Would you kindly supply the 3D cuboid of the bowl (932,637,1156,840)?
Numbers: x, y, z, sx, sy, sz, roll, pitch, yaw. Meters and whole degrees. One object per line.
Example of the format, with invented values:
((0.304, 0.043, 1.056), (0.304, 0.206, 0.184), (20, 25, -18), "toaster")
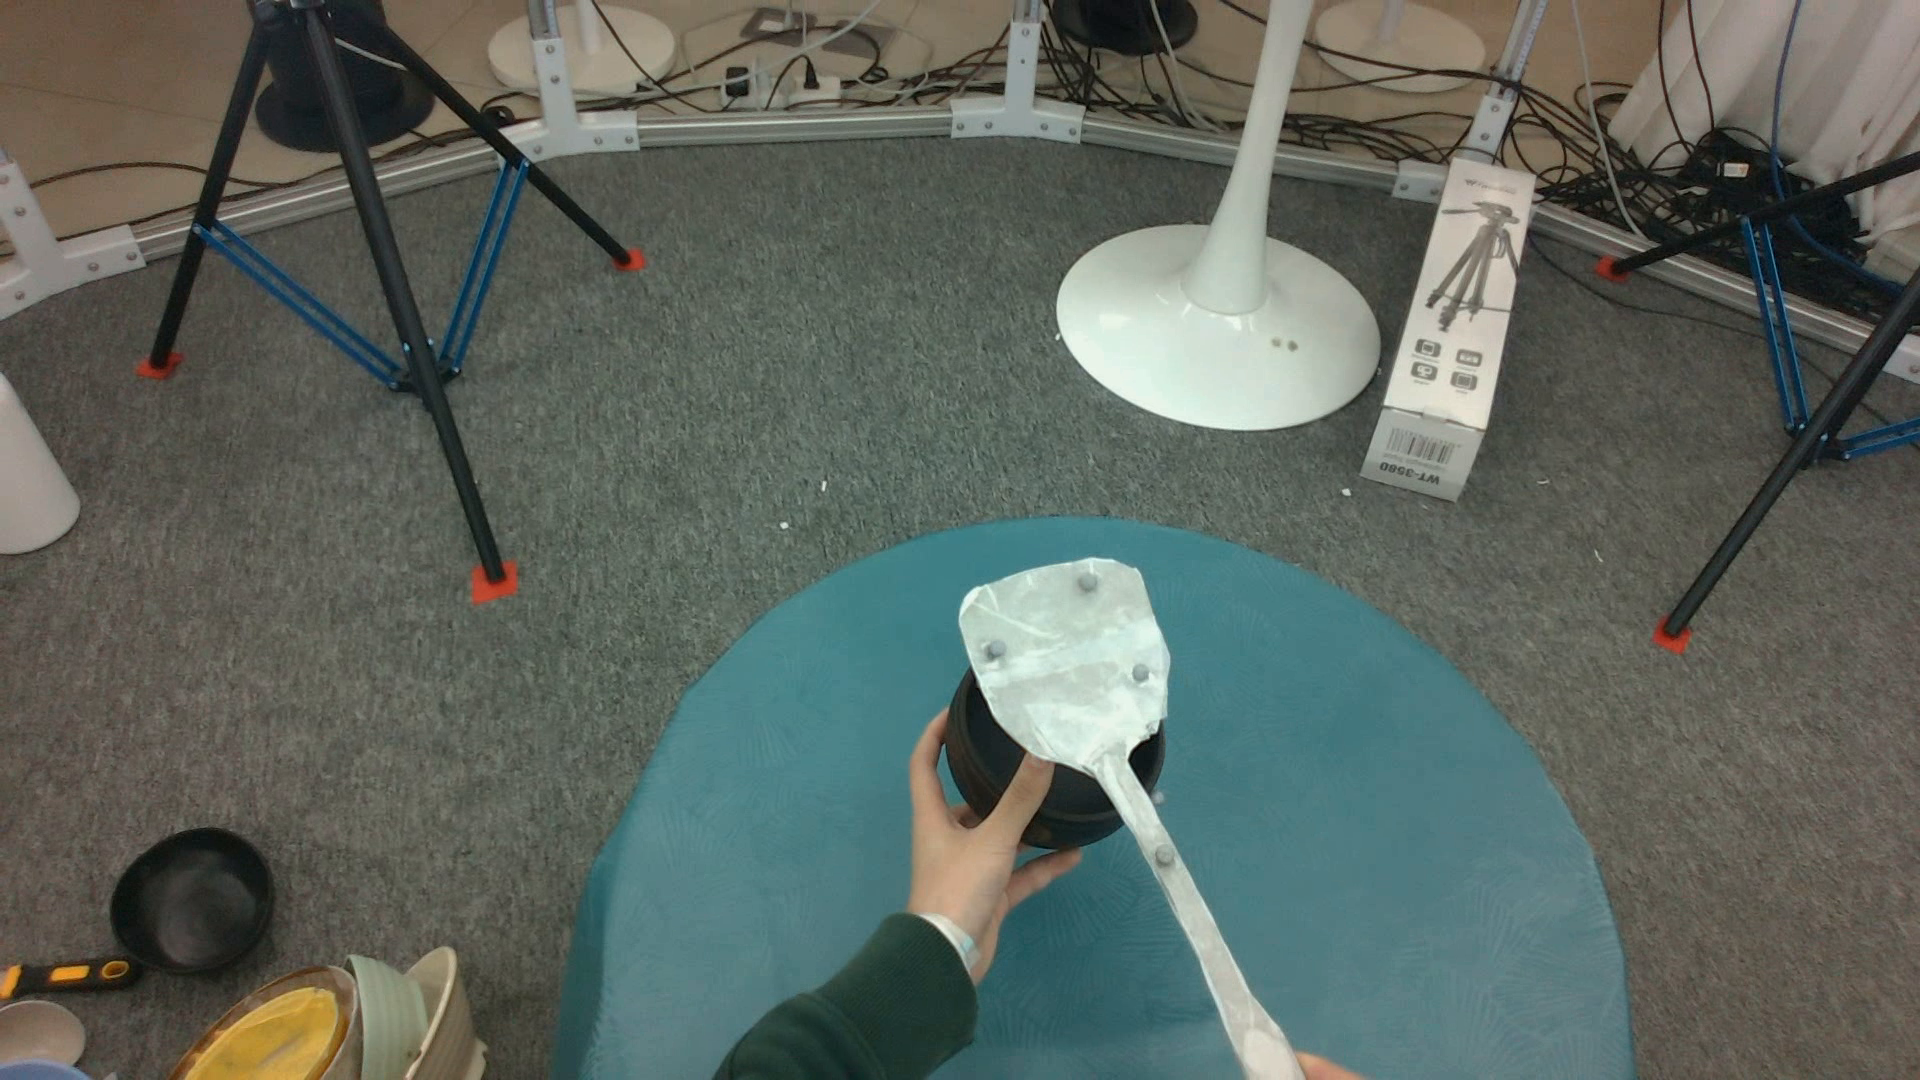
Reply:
((0.041, 0.109, 0.748), (0.118, 0.069, 0.118), (8, 53, -10), "bowl")

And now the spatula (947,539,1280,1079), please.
((0.088, 0.144, 0.576), (0.099, 0.044, 0.366), (-9, 48, -17), "spatula")
